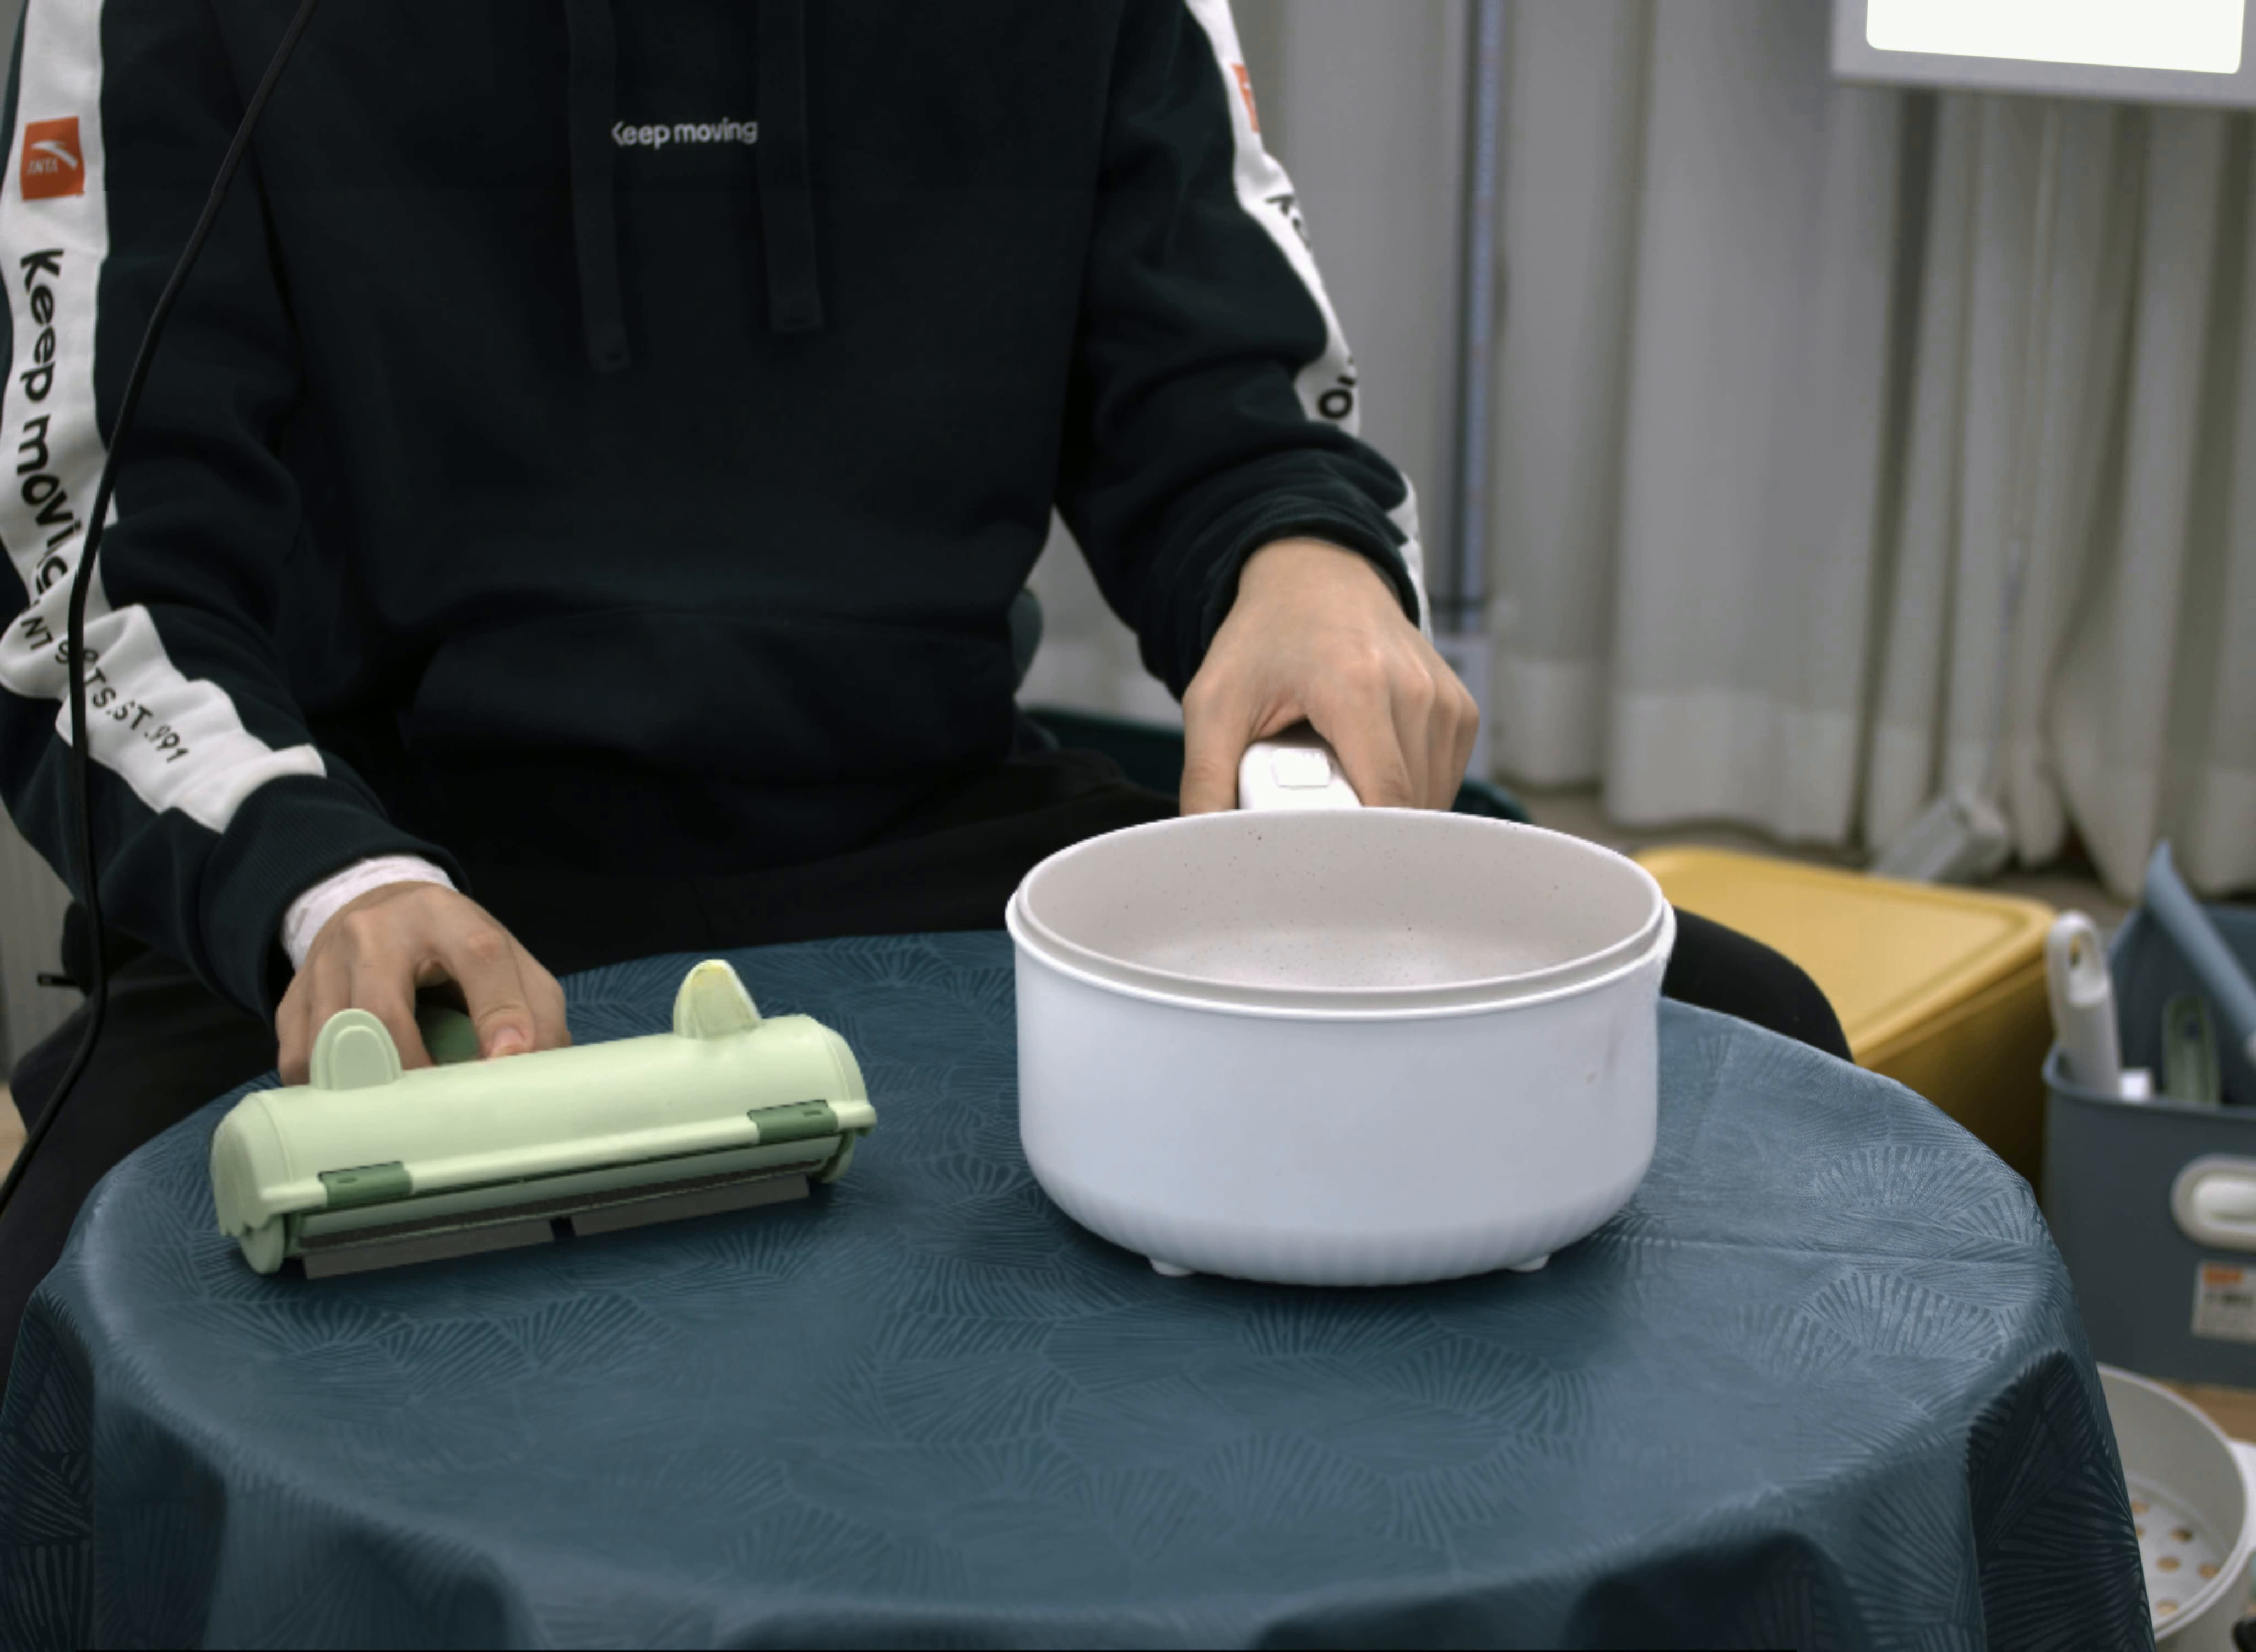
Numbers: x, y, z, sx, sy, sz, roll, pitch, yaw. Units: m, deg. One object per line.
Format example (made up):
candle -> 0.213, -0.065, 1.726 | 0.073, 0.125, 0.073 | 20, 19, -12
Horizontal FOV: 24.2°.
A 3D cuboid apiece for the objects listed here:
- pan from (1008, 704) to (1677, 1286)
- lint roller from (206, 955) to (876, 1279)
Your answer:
pan -> 0.063, 0.049, 1.665 | 0.201, 0.103, 0.353 | -1, 15, -2
lint roller -> -0.200, 0.068, 1.621 | 0.199, 0.083, 0.181 | -8, 25, -26
